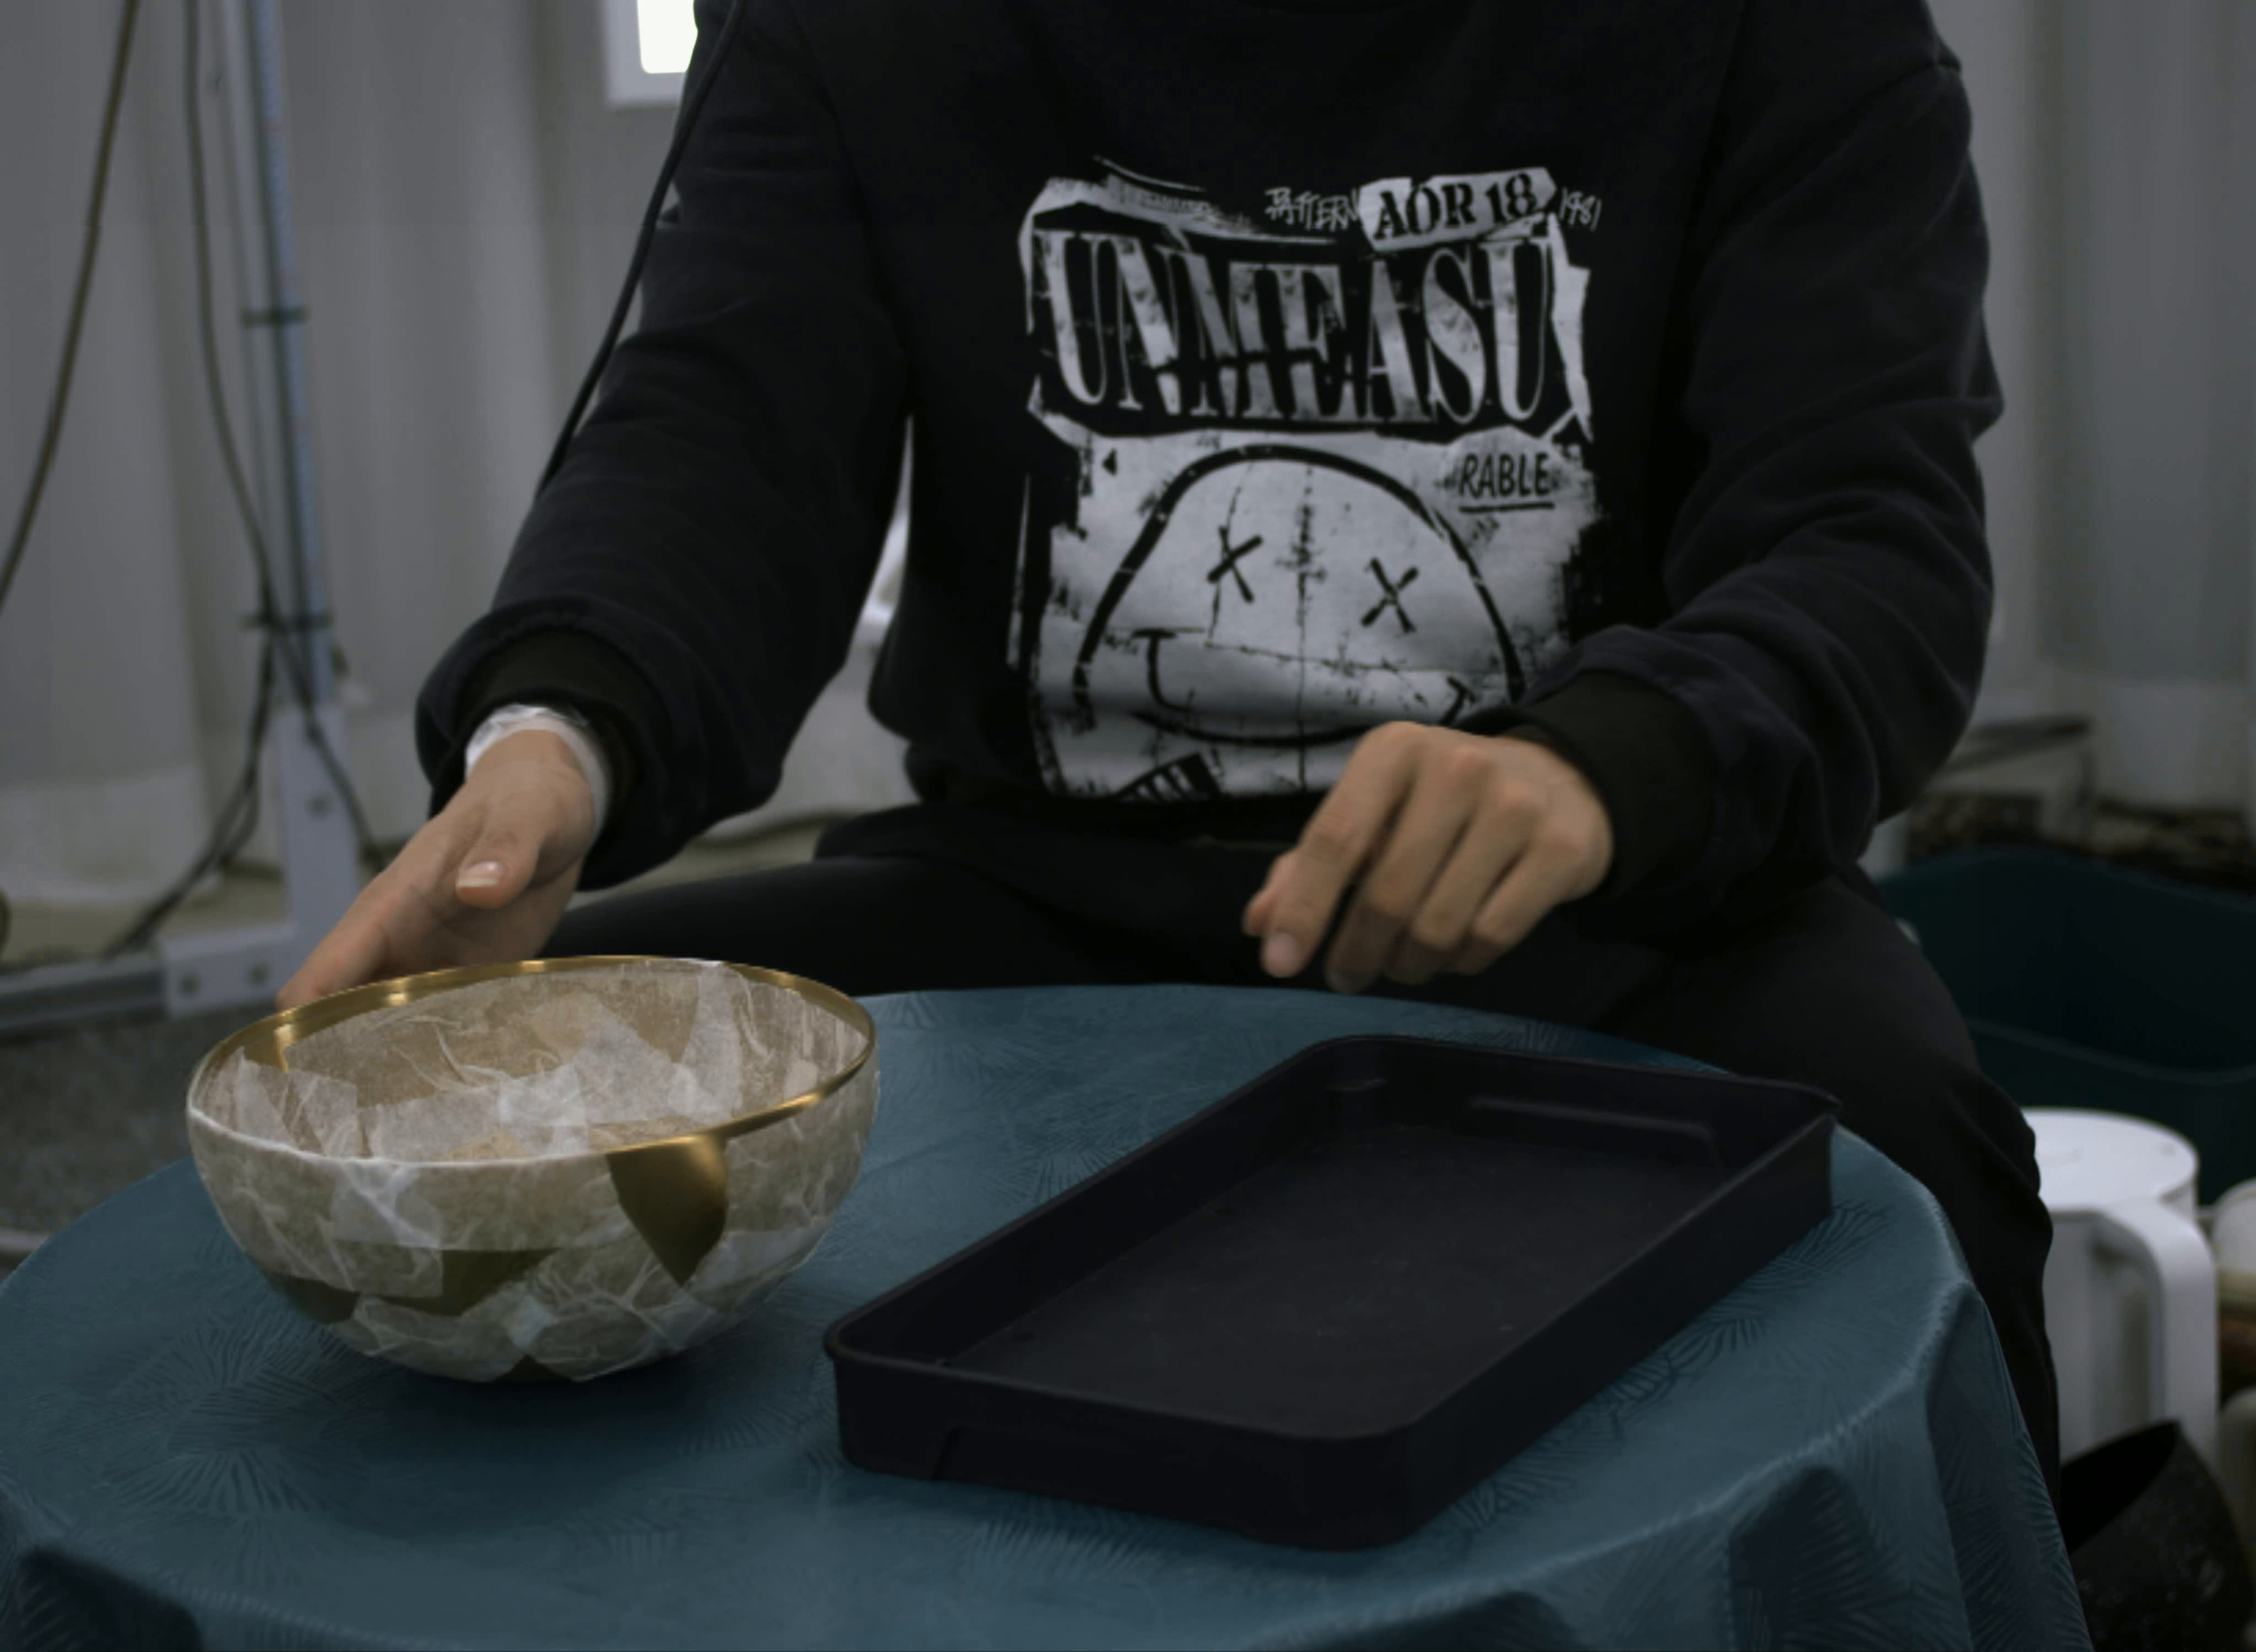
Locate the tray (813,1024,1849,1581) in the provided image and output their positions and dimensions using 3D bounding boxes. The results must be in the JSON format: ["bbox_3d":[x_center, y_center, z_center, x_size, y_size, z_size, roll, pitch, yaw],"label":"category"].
[{"bbox_3d":[0.066,0.130,1.583,0.185,0.037,0.318,8,20,31],"label":"tray"}]

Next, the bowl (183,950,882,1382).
[{"bbox_3d":[-0.166,0.107,1.596,0.214,0.094,0.216,-4,14,1],"label":"bowl"}]
